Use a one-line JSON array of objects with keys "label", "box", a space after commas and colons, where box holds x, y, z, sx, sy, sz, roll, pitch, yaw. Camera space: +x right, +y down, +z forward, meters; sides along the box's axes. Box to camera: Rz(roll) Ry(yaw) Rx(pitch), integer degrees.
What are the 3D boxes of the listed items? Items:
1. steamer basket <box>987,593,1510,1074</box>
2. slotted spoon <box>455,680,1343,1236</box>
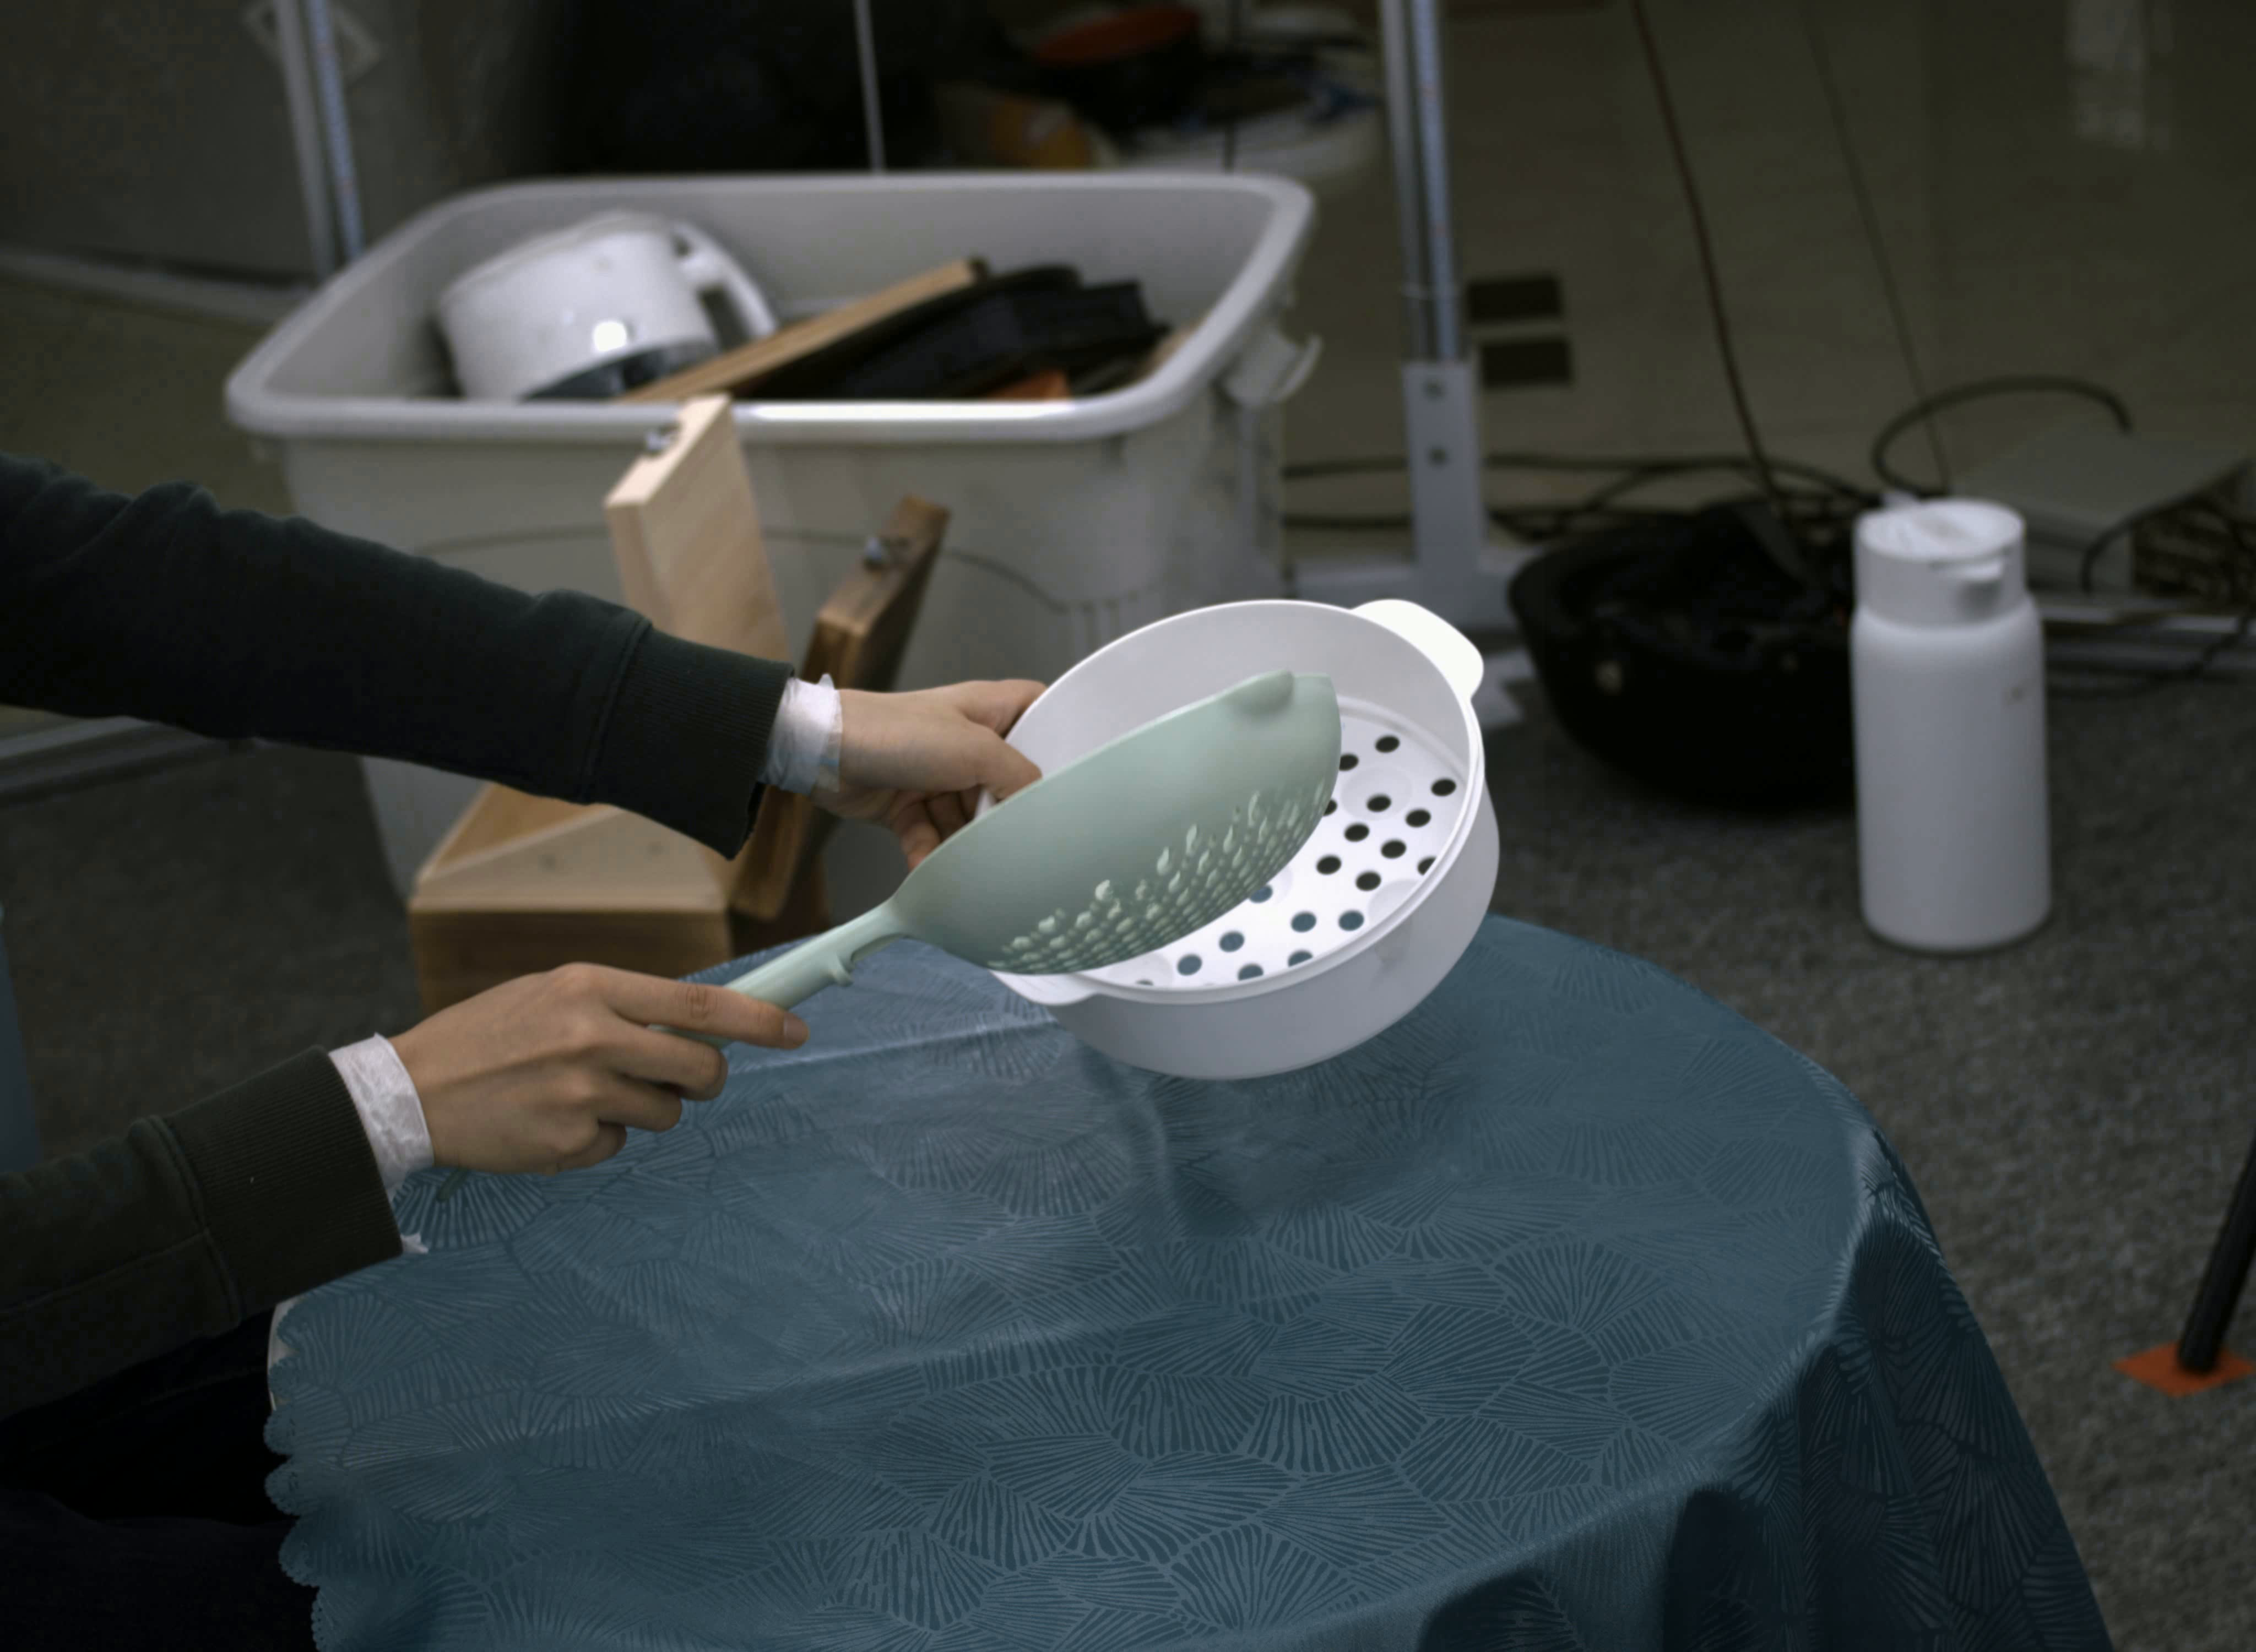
[{"label": "steamer basket", "box": [0.050, 0.006, 2.192, 0.229, 0.070, 0.199, -39, 50, -15]}, {"label": "slotted spoon", "box": [-0.083, 0.047, 2.002, 0.358, 0.075, 0.170, -21, -8, 3]}]
